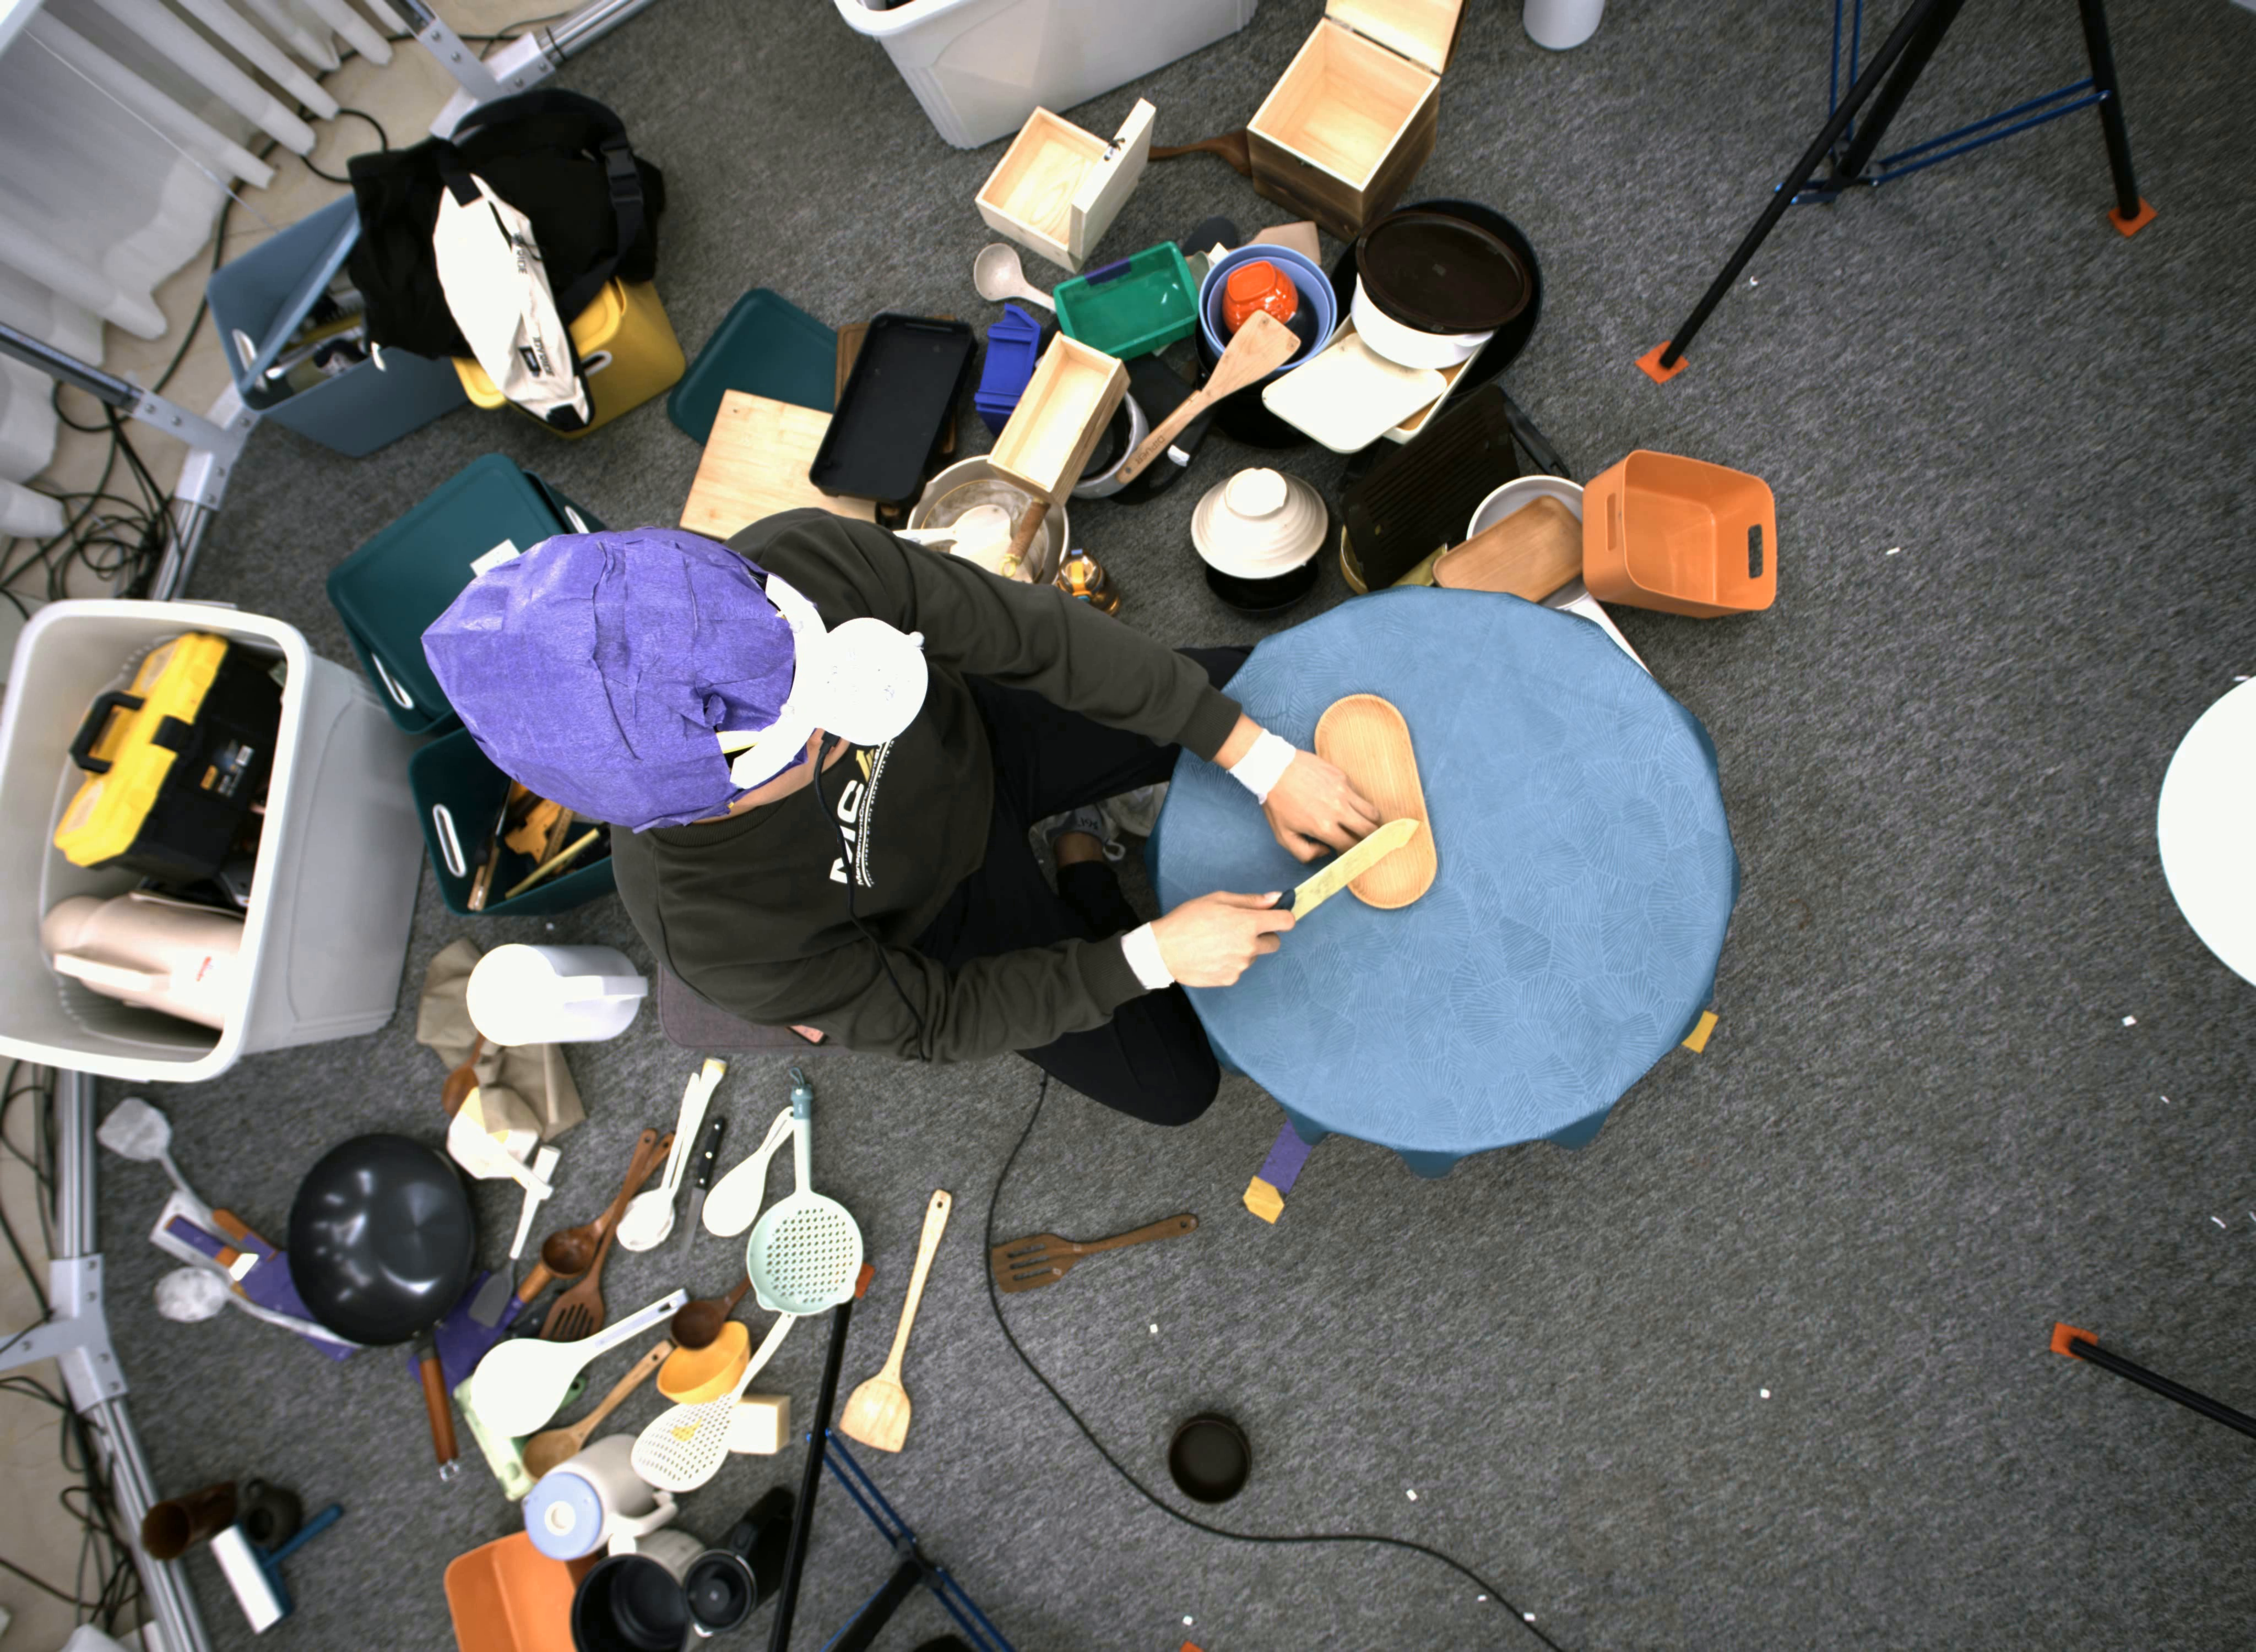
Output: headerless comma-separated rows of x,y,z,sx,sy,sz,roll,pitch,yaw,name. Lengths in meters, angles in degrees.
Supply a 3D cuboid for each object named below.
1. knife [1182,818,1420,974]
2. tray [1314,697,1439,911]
0.181,0.070,1.417,0.289,0.082,0.027,-32,61,-4,knife
0.263,-0.025,1.459,0.102,0.020,0.230,-13,86,11,tray
